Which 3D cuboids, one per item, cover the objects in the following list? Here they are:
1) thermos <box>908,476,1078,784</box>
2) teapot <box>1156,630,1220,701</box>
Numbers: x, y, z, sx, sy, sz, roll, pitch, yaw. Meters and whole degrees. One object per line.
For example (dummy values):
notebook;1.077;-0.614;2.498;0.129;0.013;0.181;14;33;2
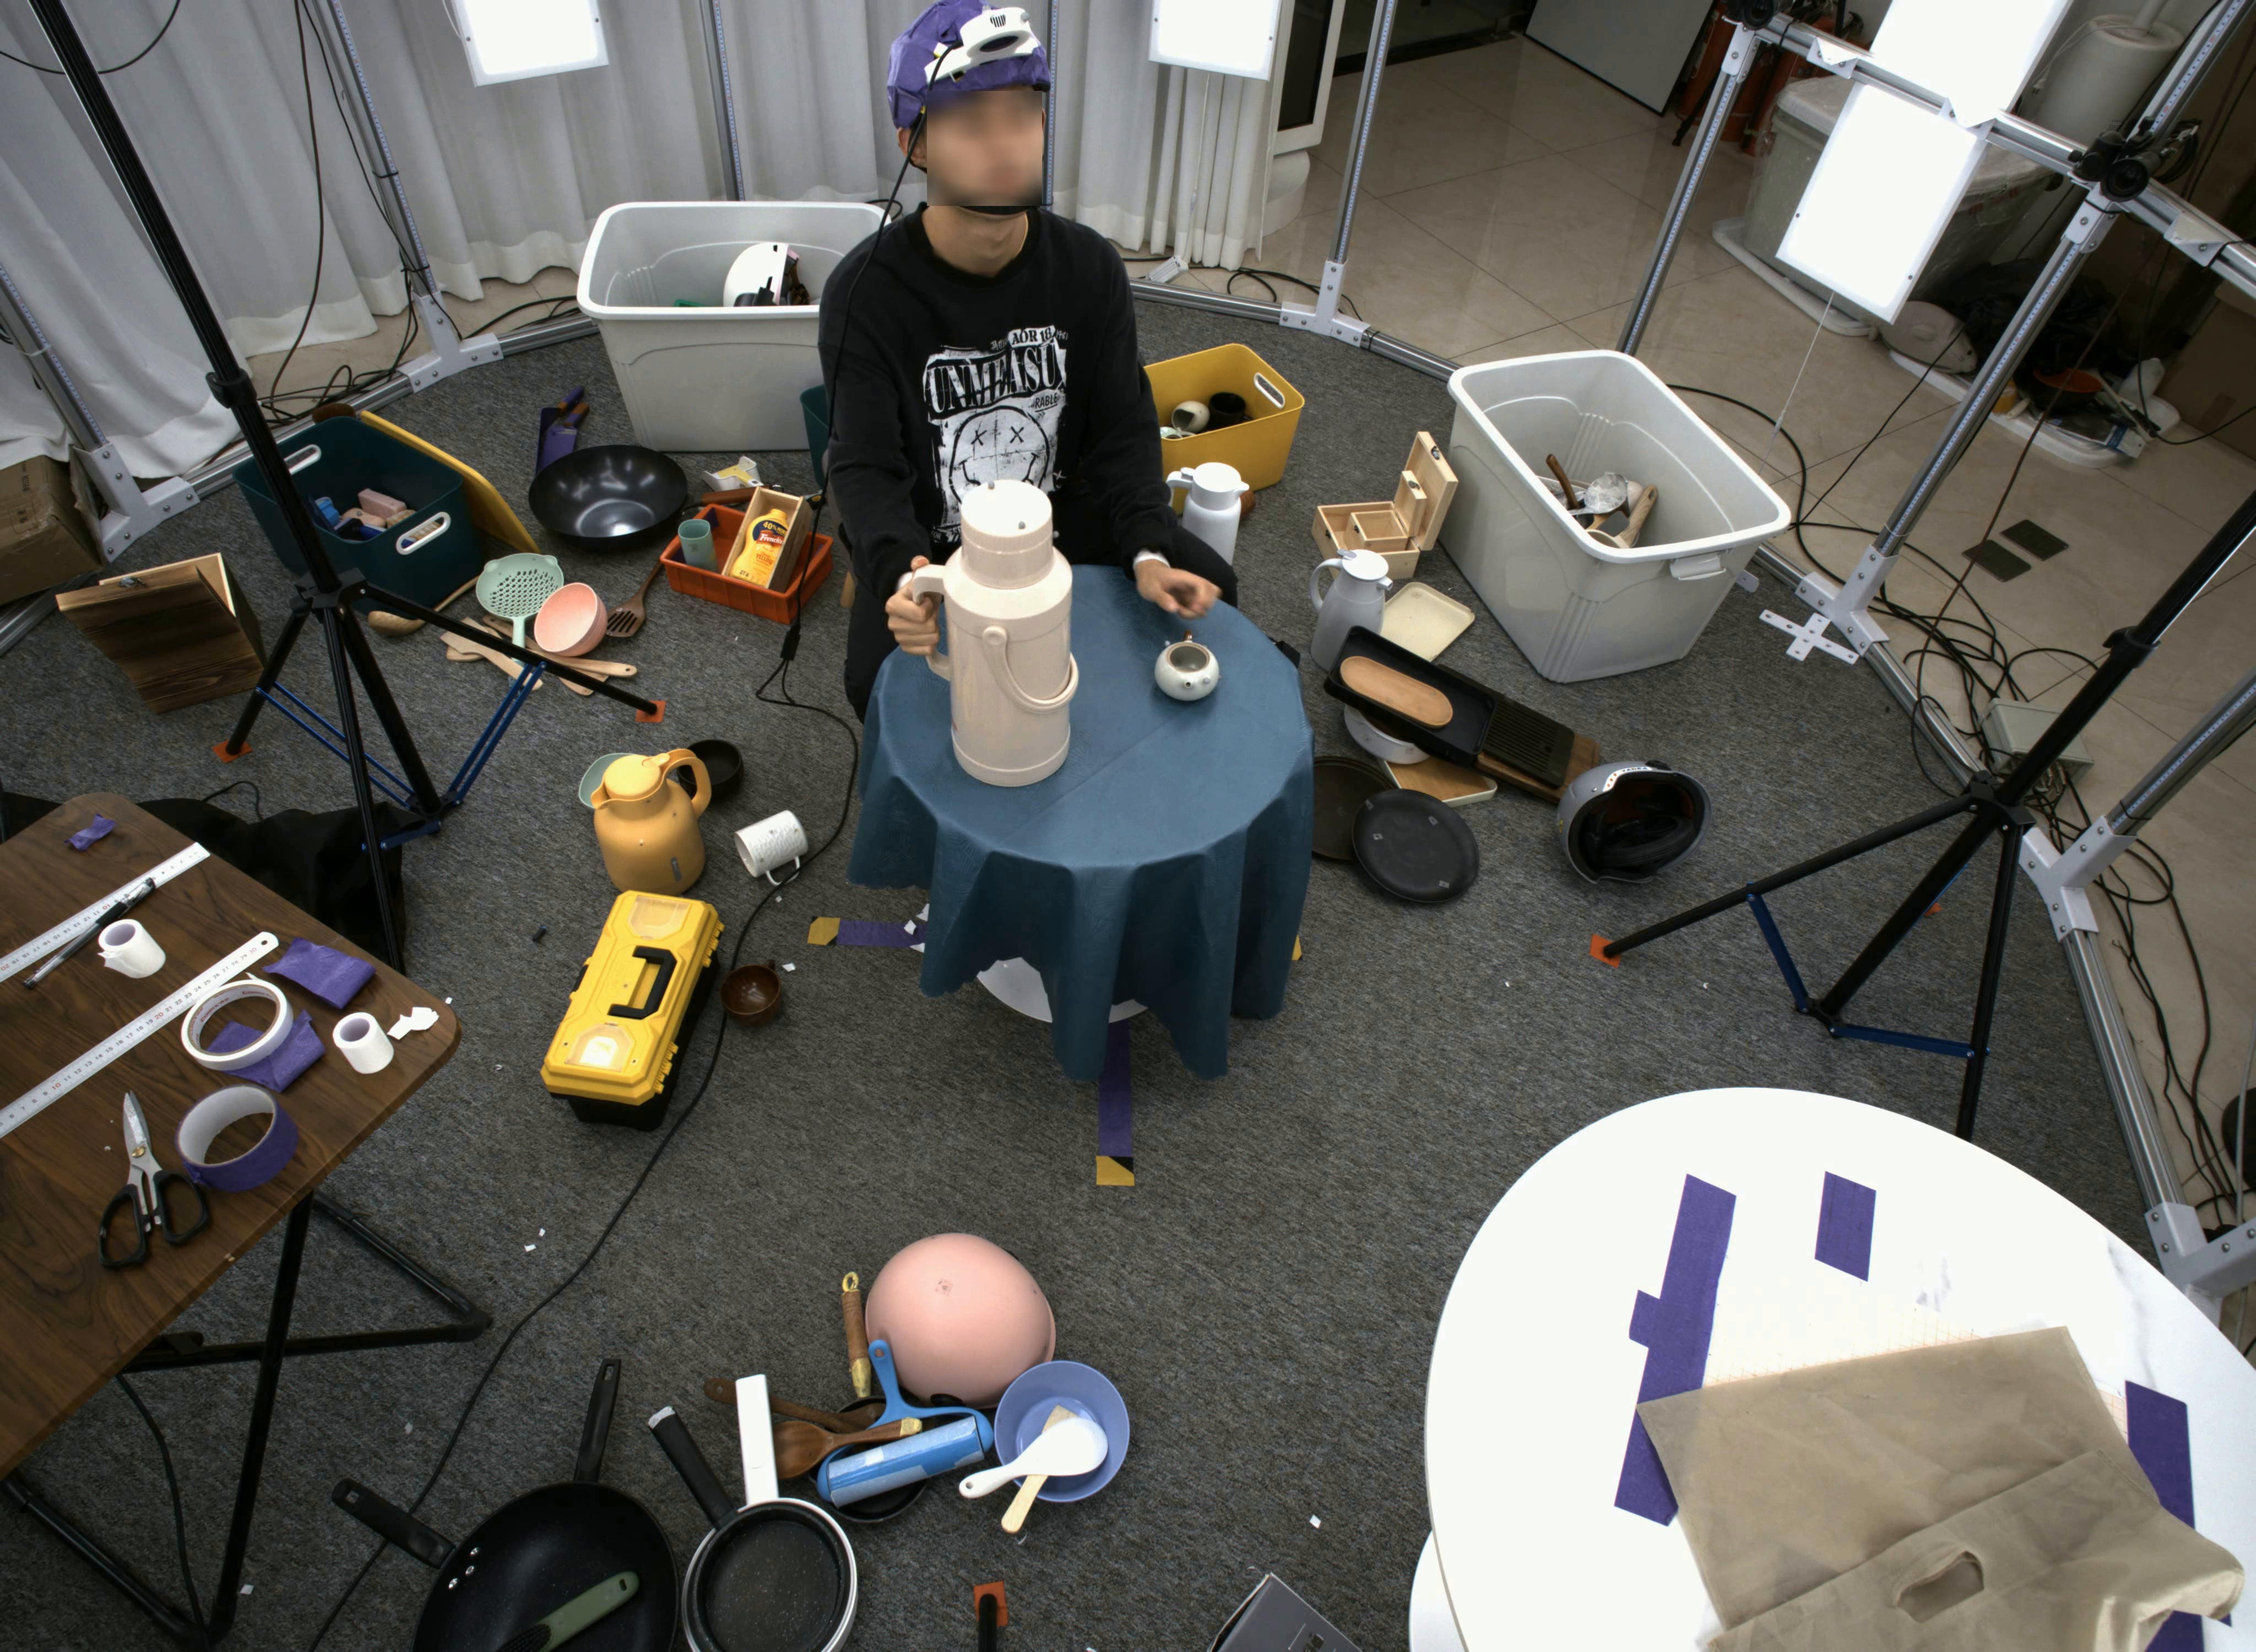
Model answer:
thermos;-0.165;-0.242;1.613;0.207;0.396;0.179;7;51;2
teapot;0.085;-0.228;1.833;0.092;0.058;0.131;0;50;1
